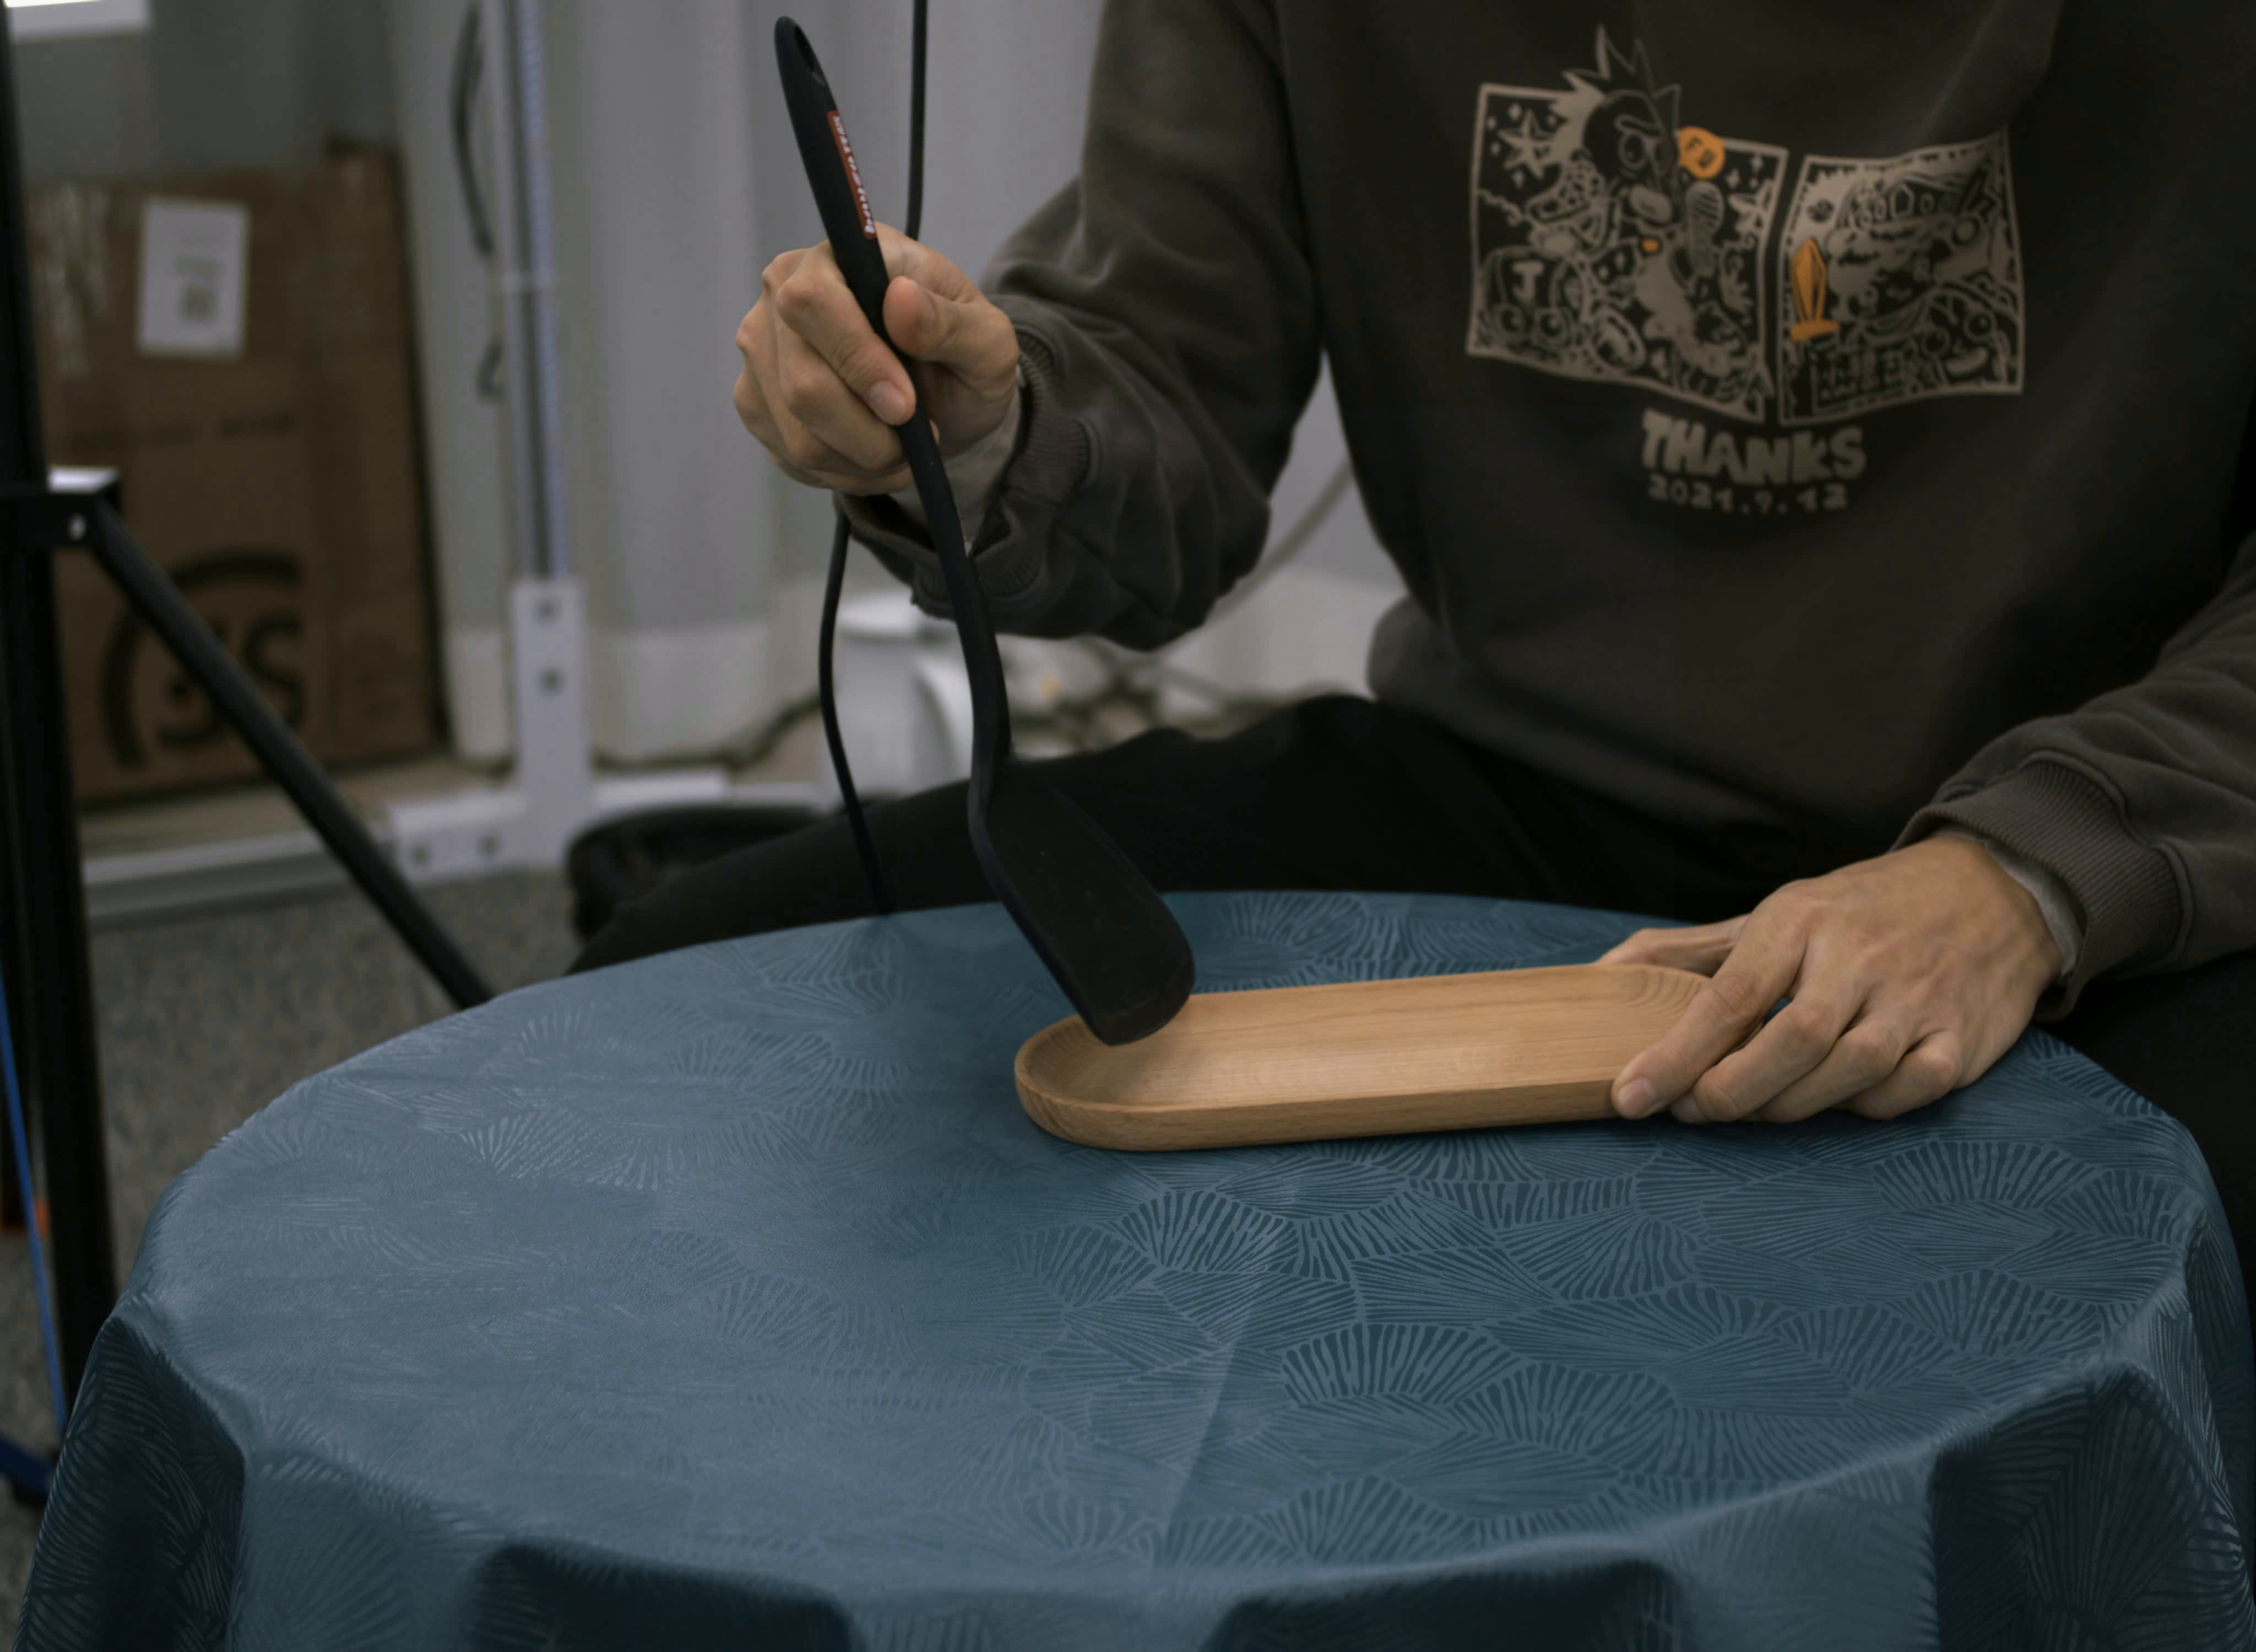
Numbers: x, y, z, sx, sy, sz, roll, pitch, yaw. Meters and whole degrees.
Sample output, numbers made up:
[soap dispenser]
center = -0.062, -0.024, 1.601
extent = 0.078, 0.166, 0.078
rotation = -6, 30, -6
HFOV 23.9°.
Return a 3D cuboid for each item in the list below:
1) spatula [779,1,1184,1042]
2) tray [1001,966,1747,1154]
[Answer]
[spatula]
center = -0.049, -0.092, 1.618
extent = 0.041, 0.327, 0.098
rotation = -13, 5, 18
[tray]
center = 0.076, 0.073, 1.636
extent = 0.230, 0.020, 0.102
rotation = -5, 18, 1
